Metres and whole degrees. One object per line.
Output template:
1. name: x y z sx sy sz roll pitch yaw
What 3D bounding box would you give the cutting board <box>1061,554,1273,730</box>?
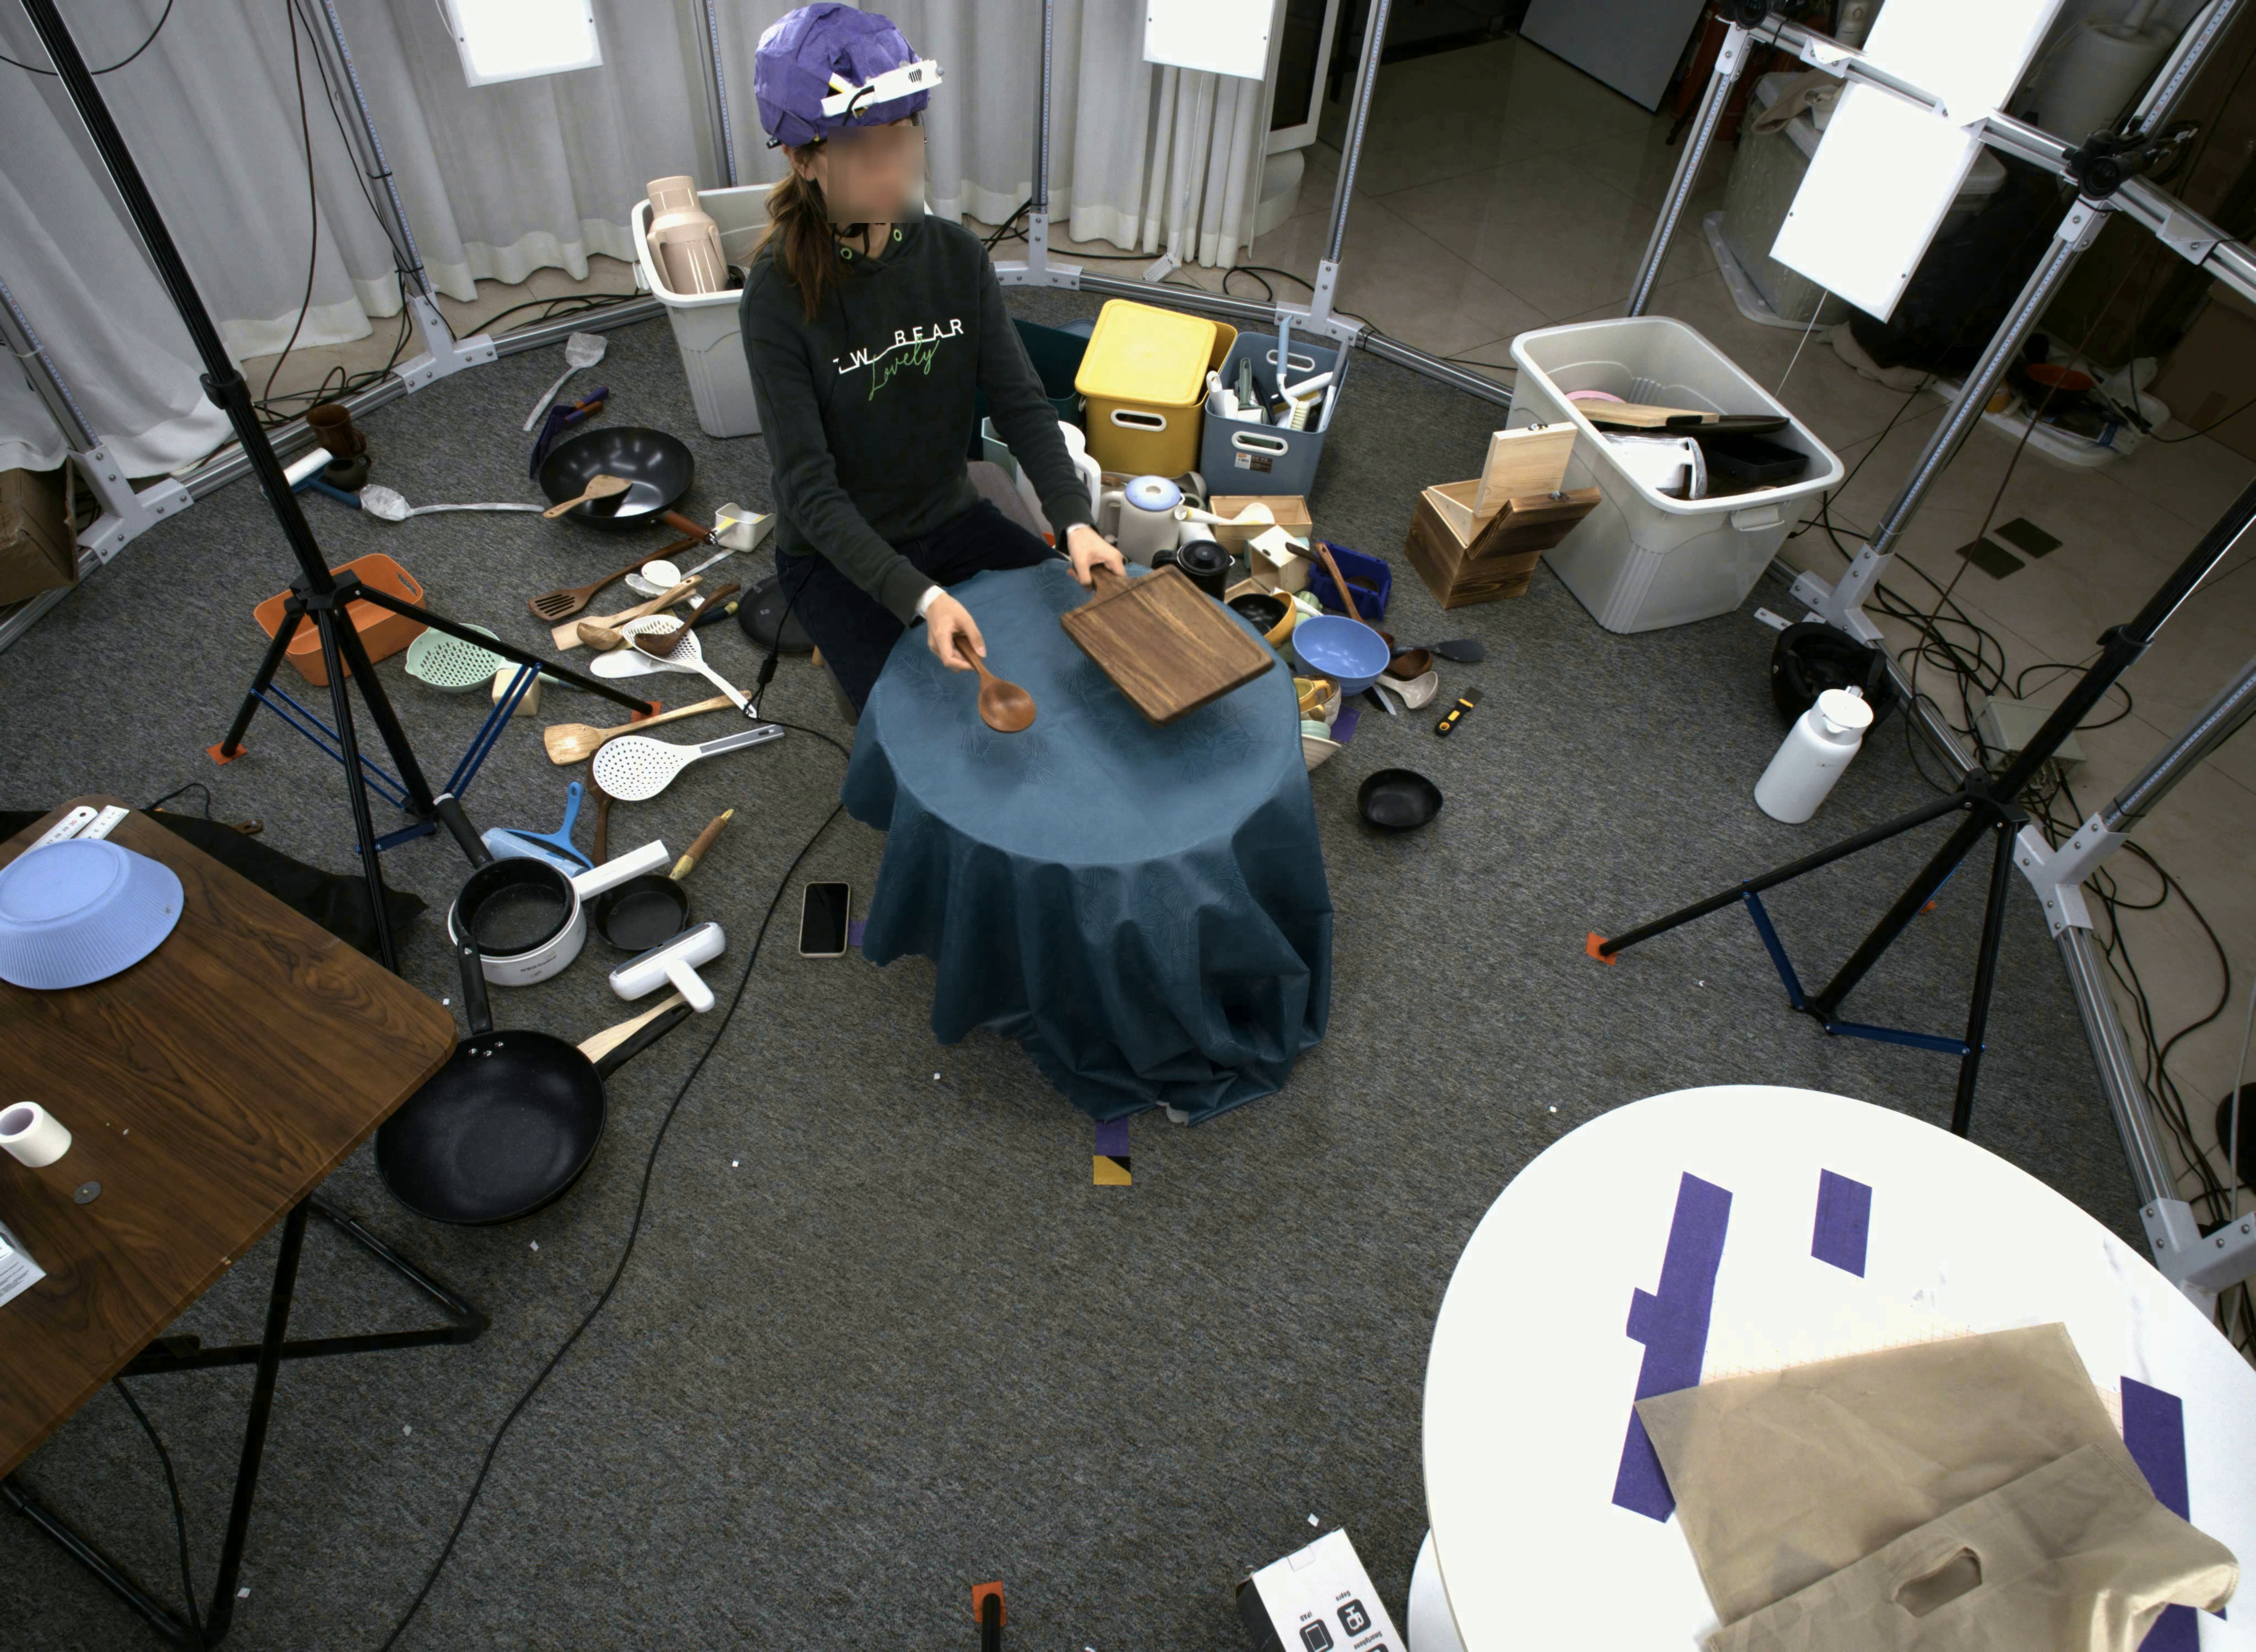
1. cutting board: 0.025 -0.287 1.825 0.202 0.022 0.359 -29 53 -17

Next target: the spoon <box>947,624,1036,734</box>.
1. spoon: -0.193 -0.202 1.753 0.075 0.017 0.220 -24 58 -15
